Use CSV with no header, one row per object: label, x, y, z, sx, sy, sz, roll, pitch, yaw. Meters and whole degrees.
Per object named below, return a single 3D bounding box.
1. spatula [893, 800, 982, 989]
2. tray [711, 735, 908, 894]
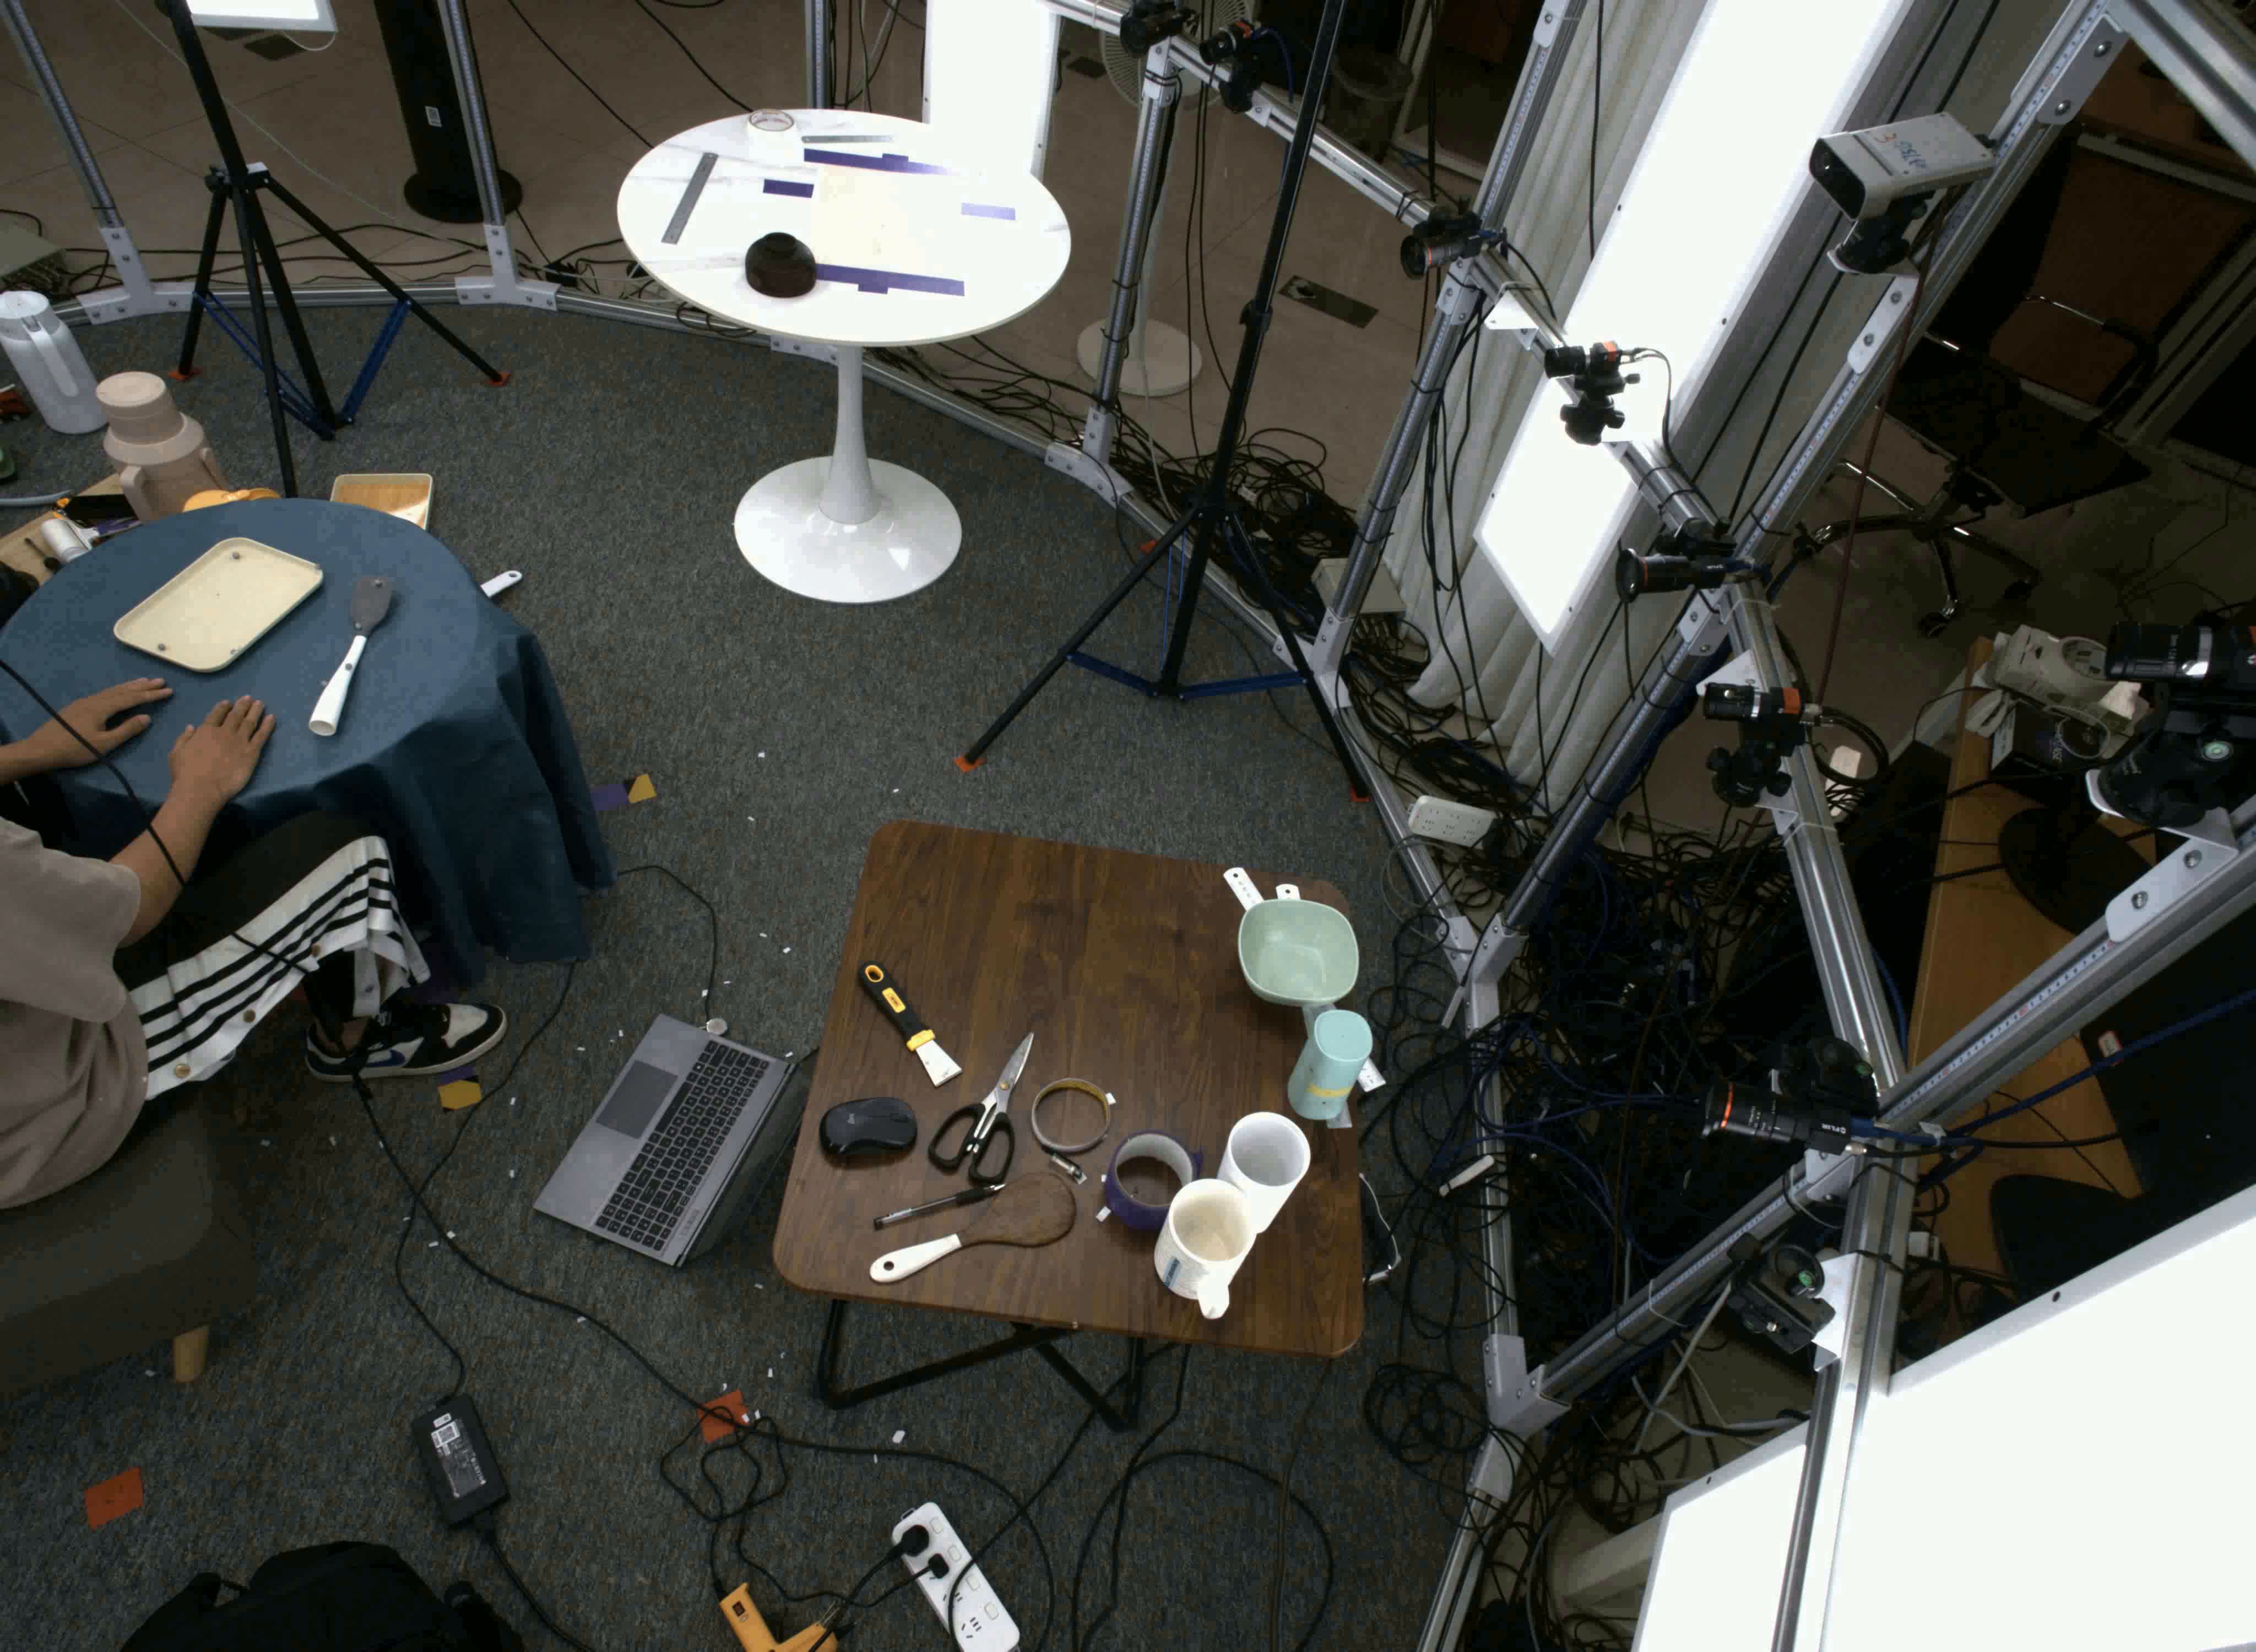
spatula,-0.250,0.082,1.692,0.058,0.033,0.284,12,52,2
tray,-0.424,-0.018,1.738,0.168,0.018,0.239,32,54,12
